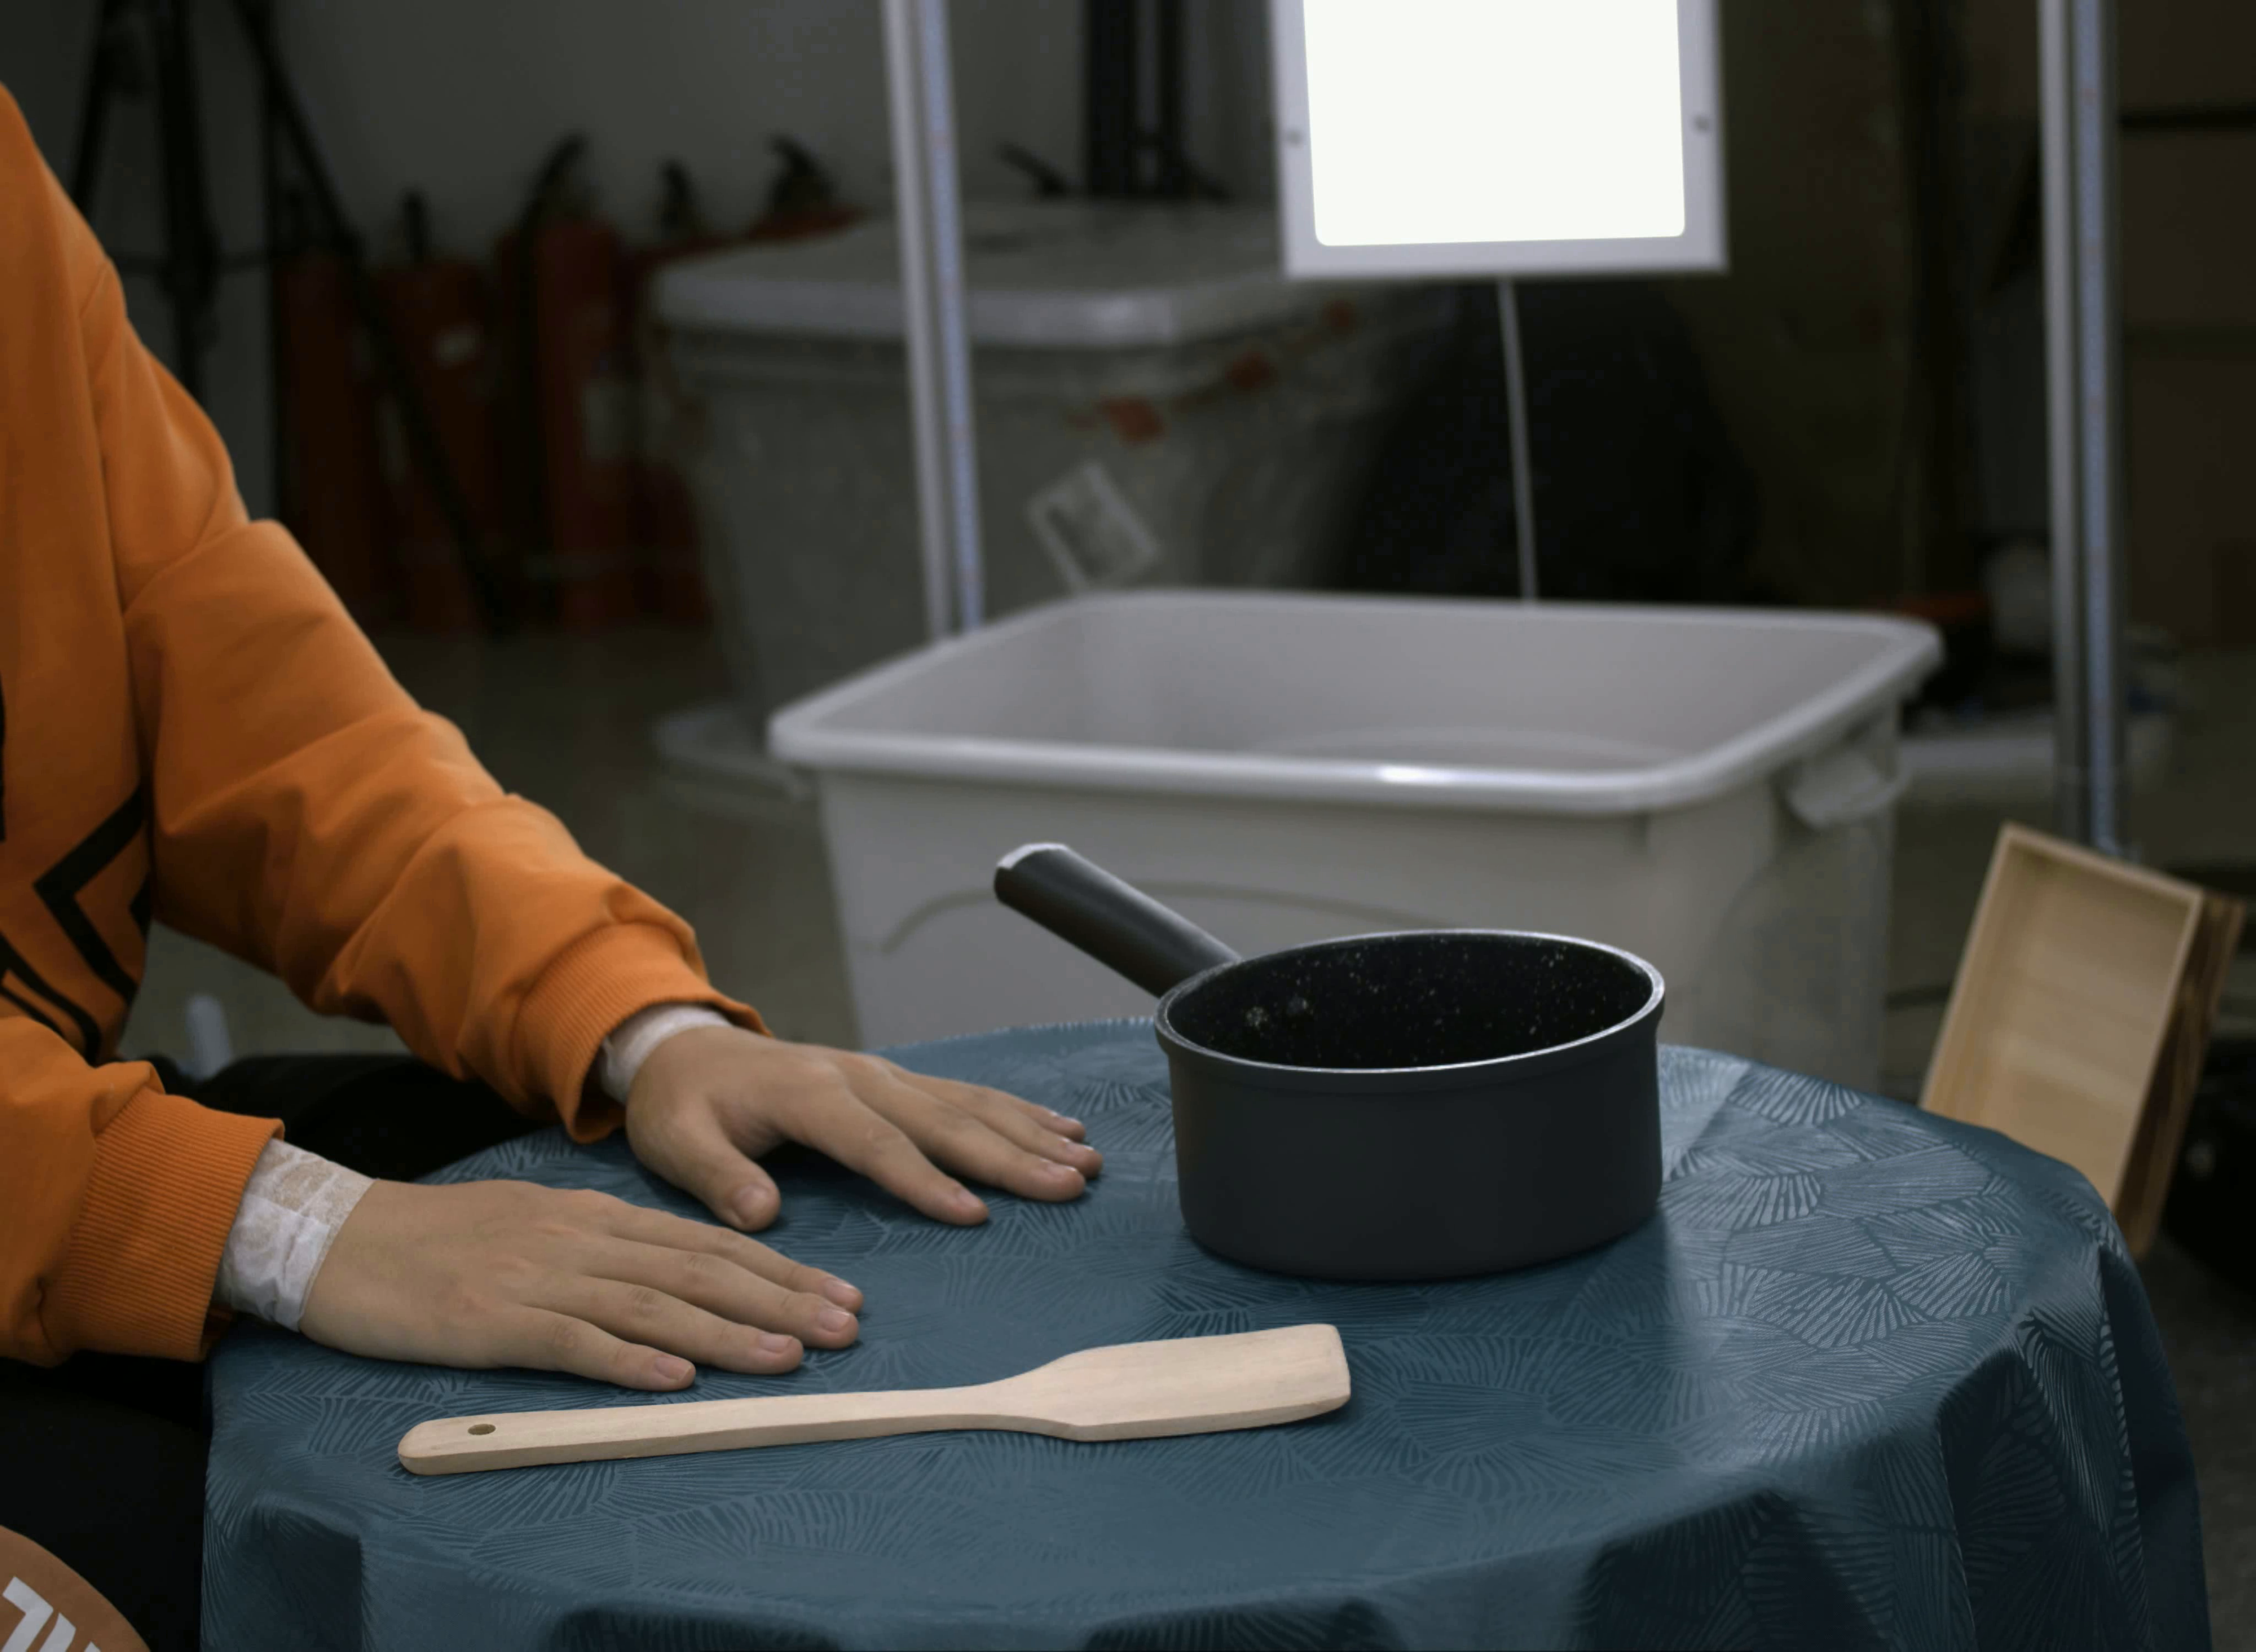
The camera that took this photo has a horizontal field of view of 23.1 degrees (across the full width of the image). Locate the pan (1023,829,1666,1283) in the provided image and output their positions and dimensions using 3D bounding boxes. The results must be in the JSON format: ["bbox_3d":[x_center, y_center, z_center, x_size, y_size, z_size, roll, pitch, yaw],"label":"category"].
[{"bbox_3d":[0.056,0.075,1.908,0.168,0.087,0.334,-12,17,-27],"label":"pan"}]

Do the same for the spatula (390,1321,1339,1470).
[{"bbox_3d":[-0.081,0.180,1.692,0.292,0.011,0.072,-5,17,2],"label":"spatula"}]
